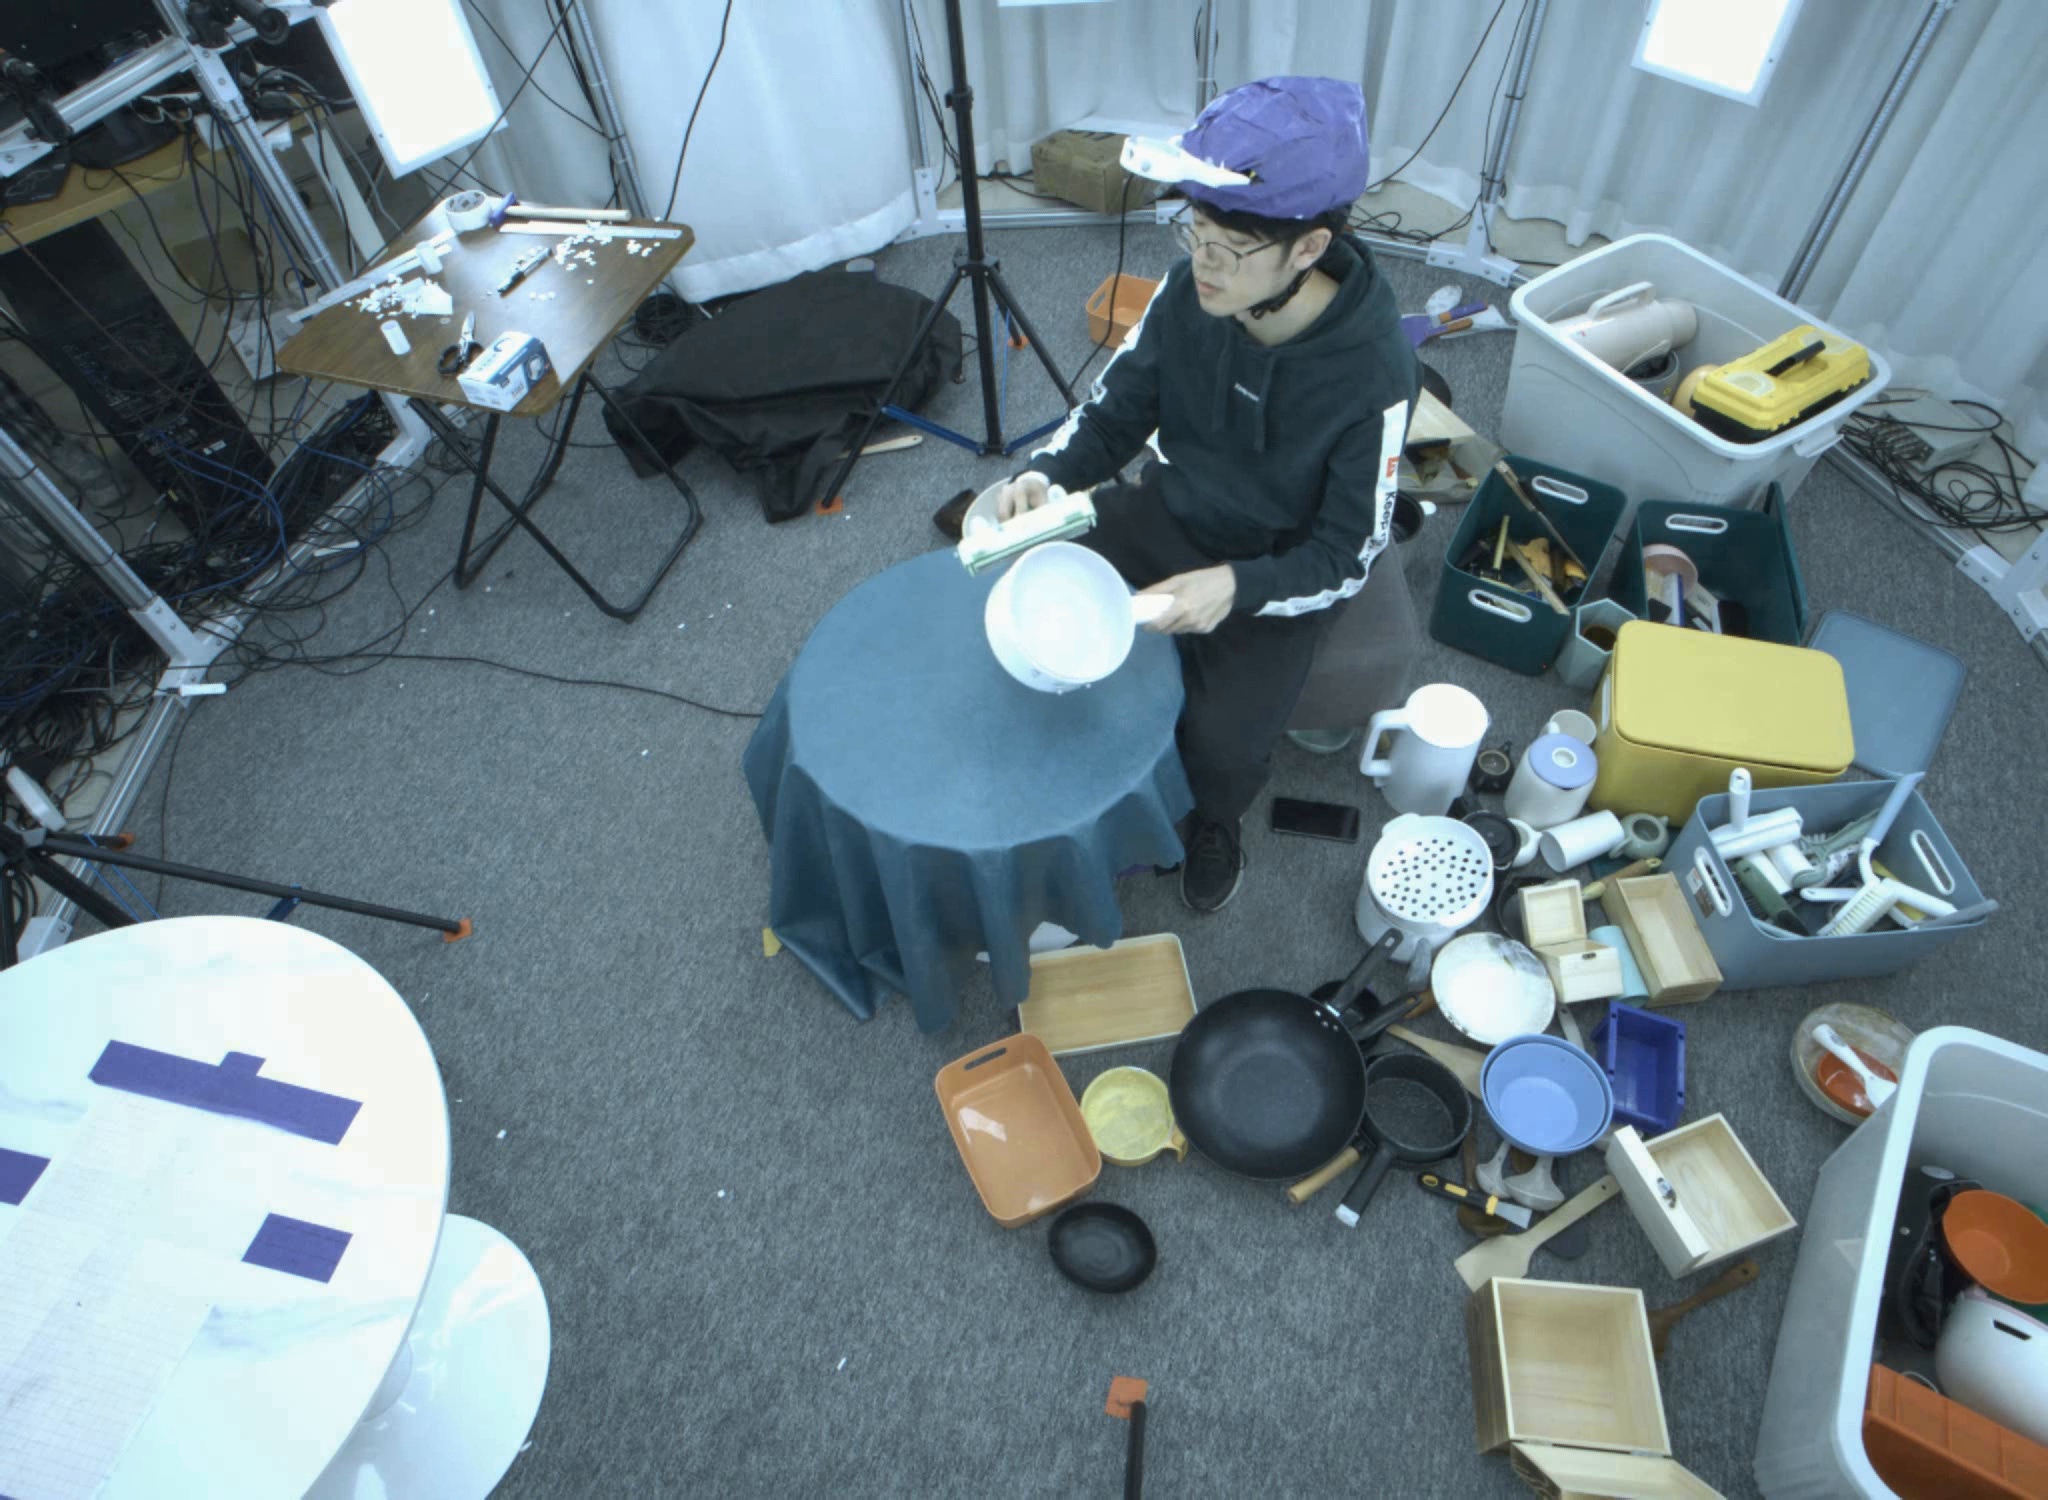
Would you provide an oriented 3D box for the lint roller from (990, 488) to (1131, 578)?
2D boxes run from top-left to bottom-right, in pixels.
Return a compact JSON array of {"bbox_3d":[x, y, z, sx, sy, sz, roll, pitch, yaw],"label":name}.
[{"bbox_3d":[0.042,-0.330,1.731,0.198,0.083,0.180,-20,34,5],"label":"lint roller"}]

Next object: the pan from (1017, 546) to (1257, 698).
[{"bbox_3d":[0.158,-0.178,1.741,0.361,0.100,0.200,-4,82,-28],"label":"pan"}]
